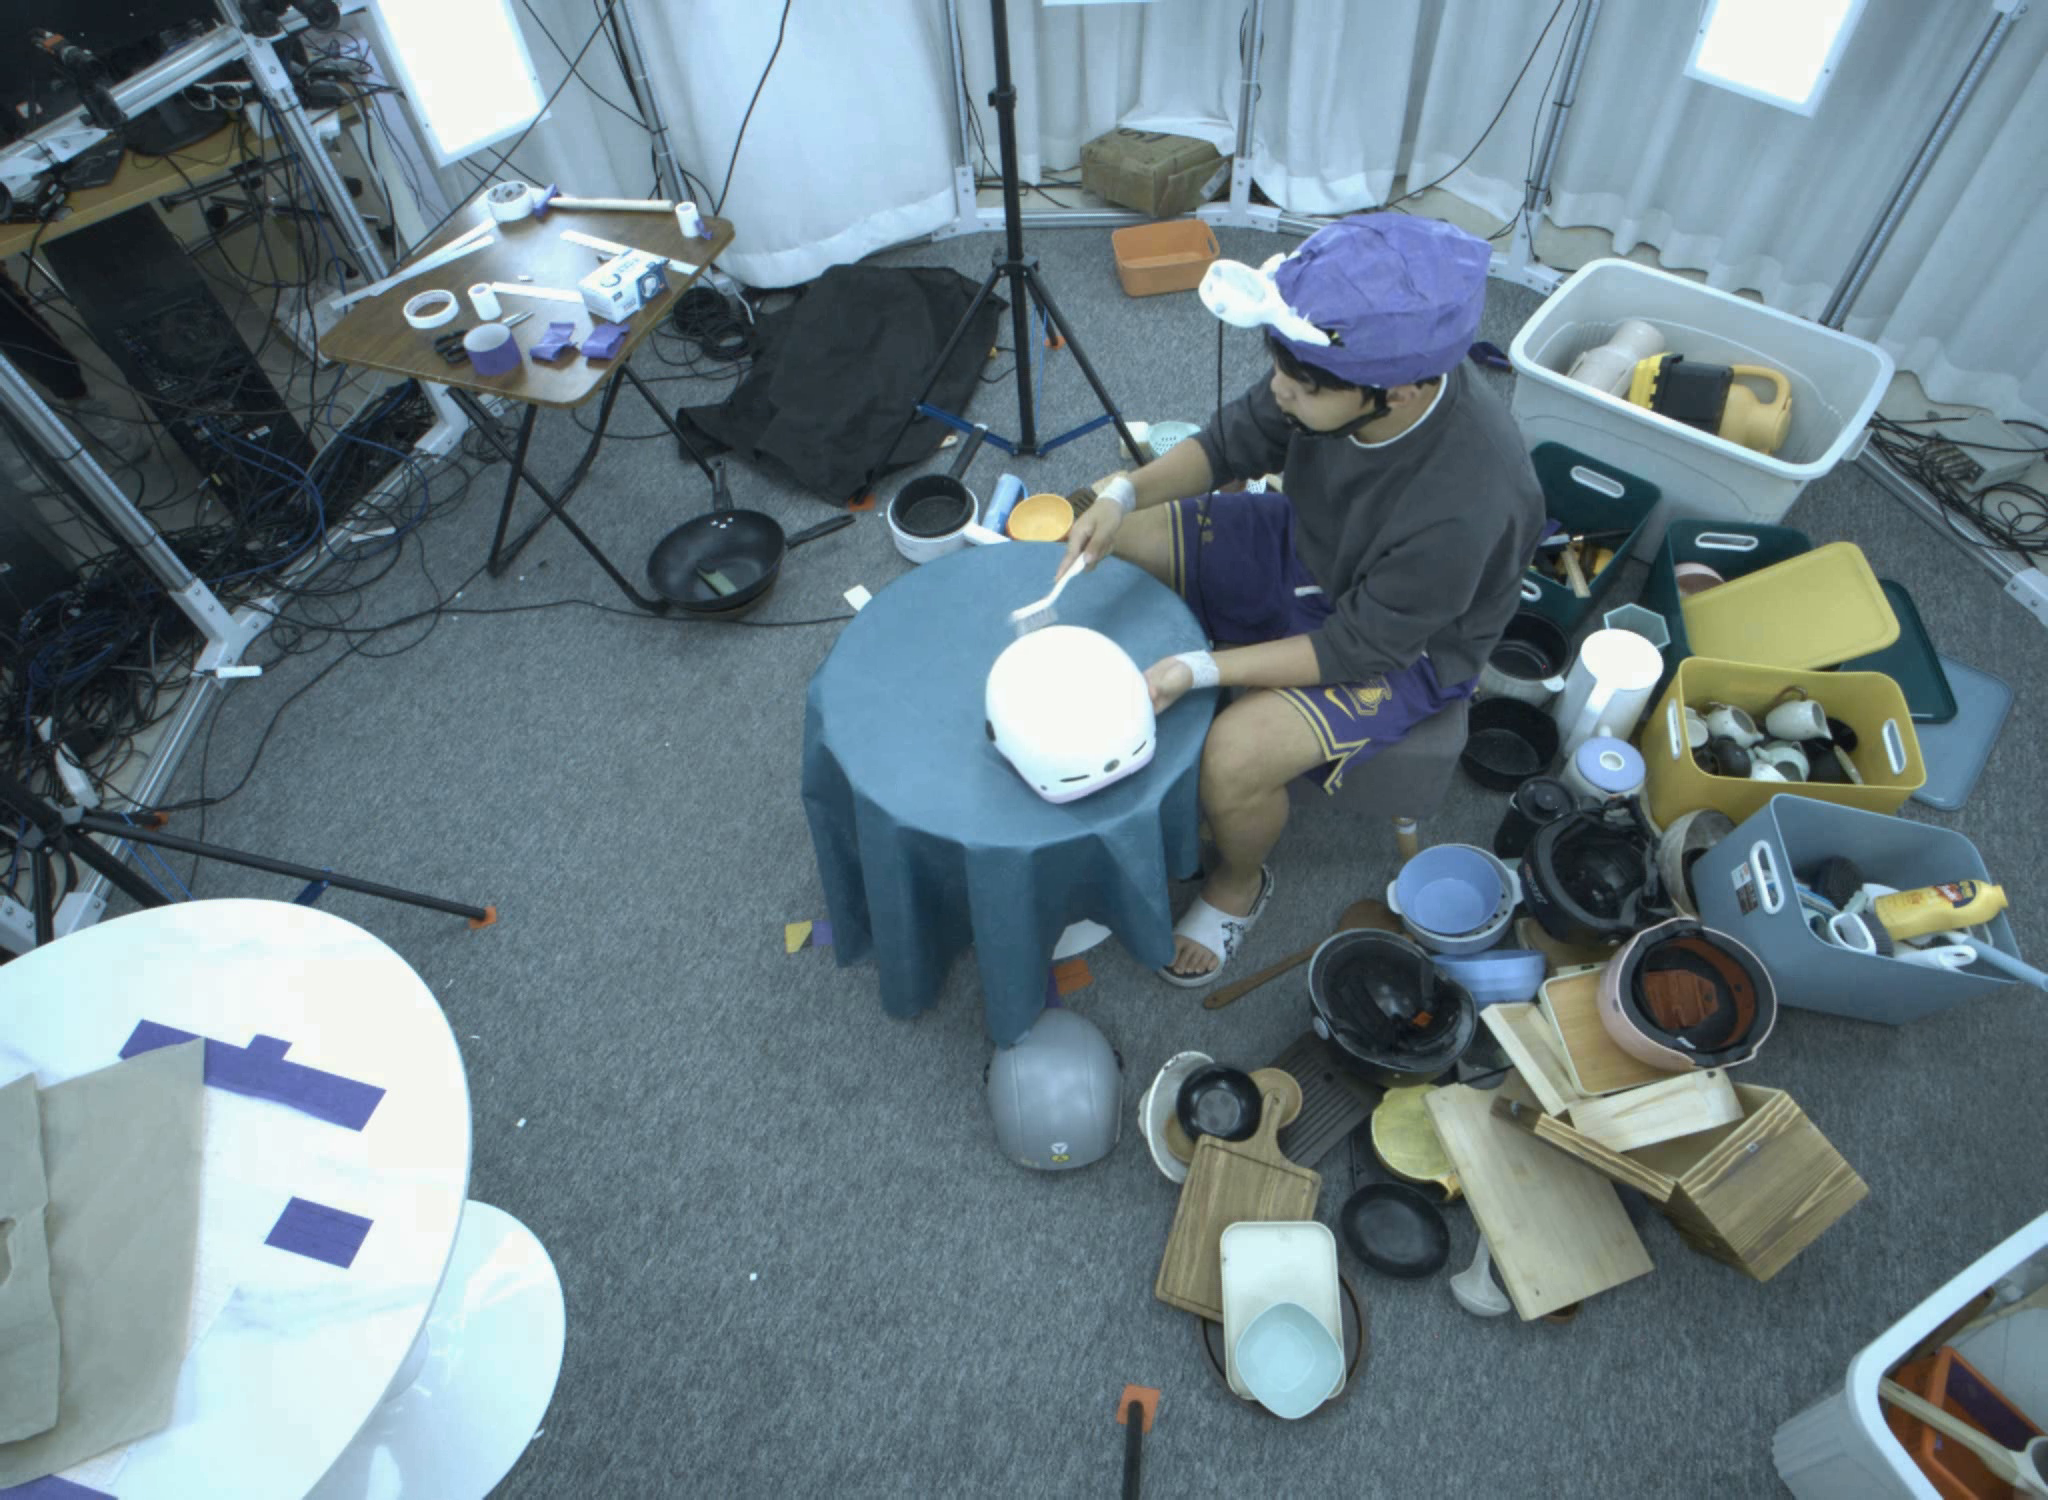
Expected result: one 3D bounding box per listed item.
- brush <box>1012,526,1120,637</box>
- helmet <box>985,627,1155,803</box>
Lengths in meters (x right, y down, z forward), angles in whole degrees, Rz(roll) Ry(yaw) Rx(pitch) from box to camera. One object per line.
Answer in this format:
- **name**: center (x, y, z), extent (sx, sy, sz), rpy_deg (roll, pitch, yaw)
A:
- **brush**: center (0.074, -0.250, 1.827), extent (0.050, 0.034, 0.245), rpy_deg (47, 67, -2)
- **helmet**: center (0.058, -0.075, 1.735), extent (0.238, 0.169, 0.264), rpy_deg (-25, 57, -10)
